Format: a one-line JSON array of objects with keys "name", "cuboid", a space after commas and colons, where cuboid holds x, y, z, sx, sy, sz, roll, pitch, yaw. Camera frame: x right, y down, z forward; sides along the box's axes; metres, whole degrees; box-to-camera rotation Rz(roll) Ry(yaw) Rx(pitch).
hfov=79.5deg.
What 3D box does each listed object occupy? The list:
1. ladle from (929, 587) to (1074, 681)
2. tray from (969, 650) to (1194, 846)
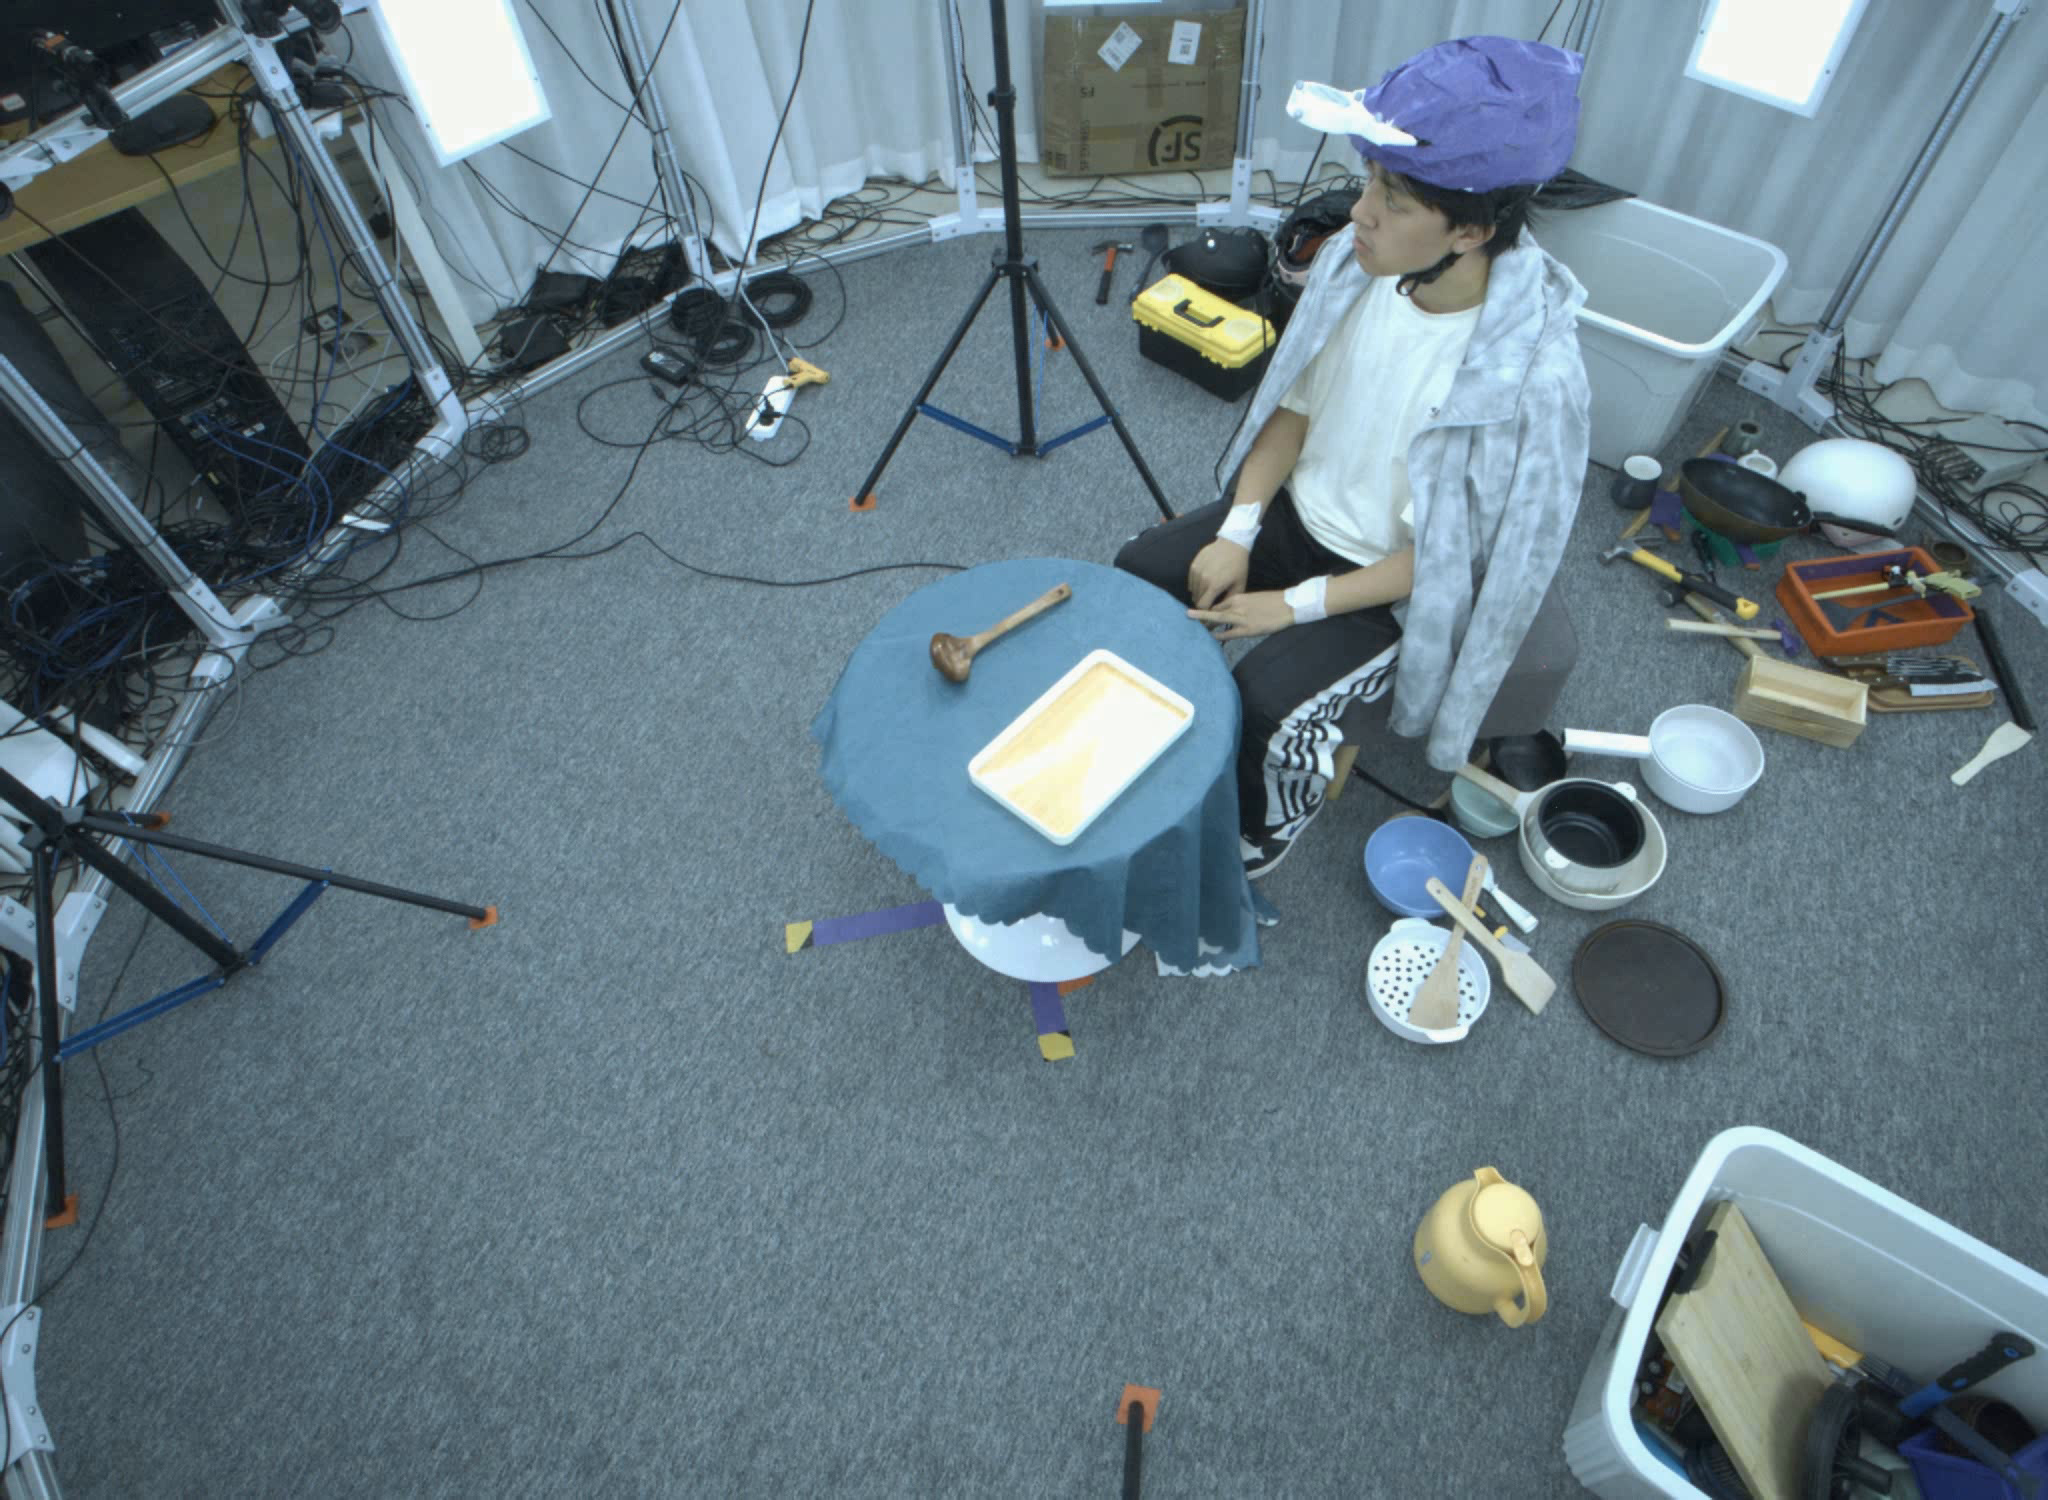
[{"name": "ladle", "cuboid": [-0.027, -0.192, 1.884, 0.276, 0.075, 0.082, -30, 100, -20]}, {"name": "tray", "cuboid": [0.085, -0.010, 1.777, 0.188, 0.028, 0.302, 36, 63, 24]}]
